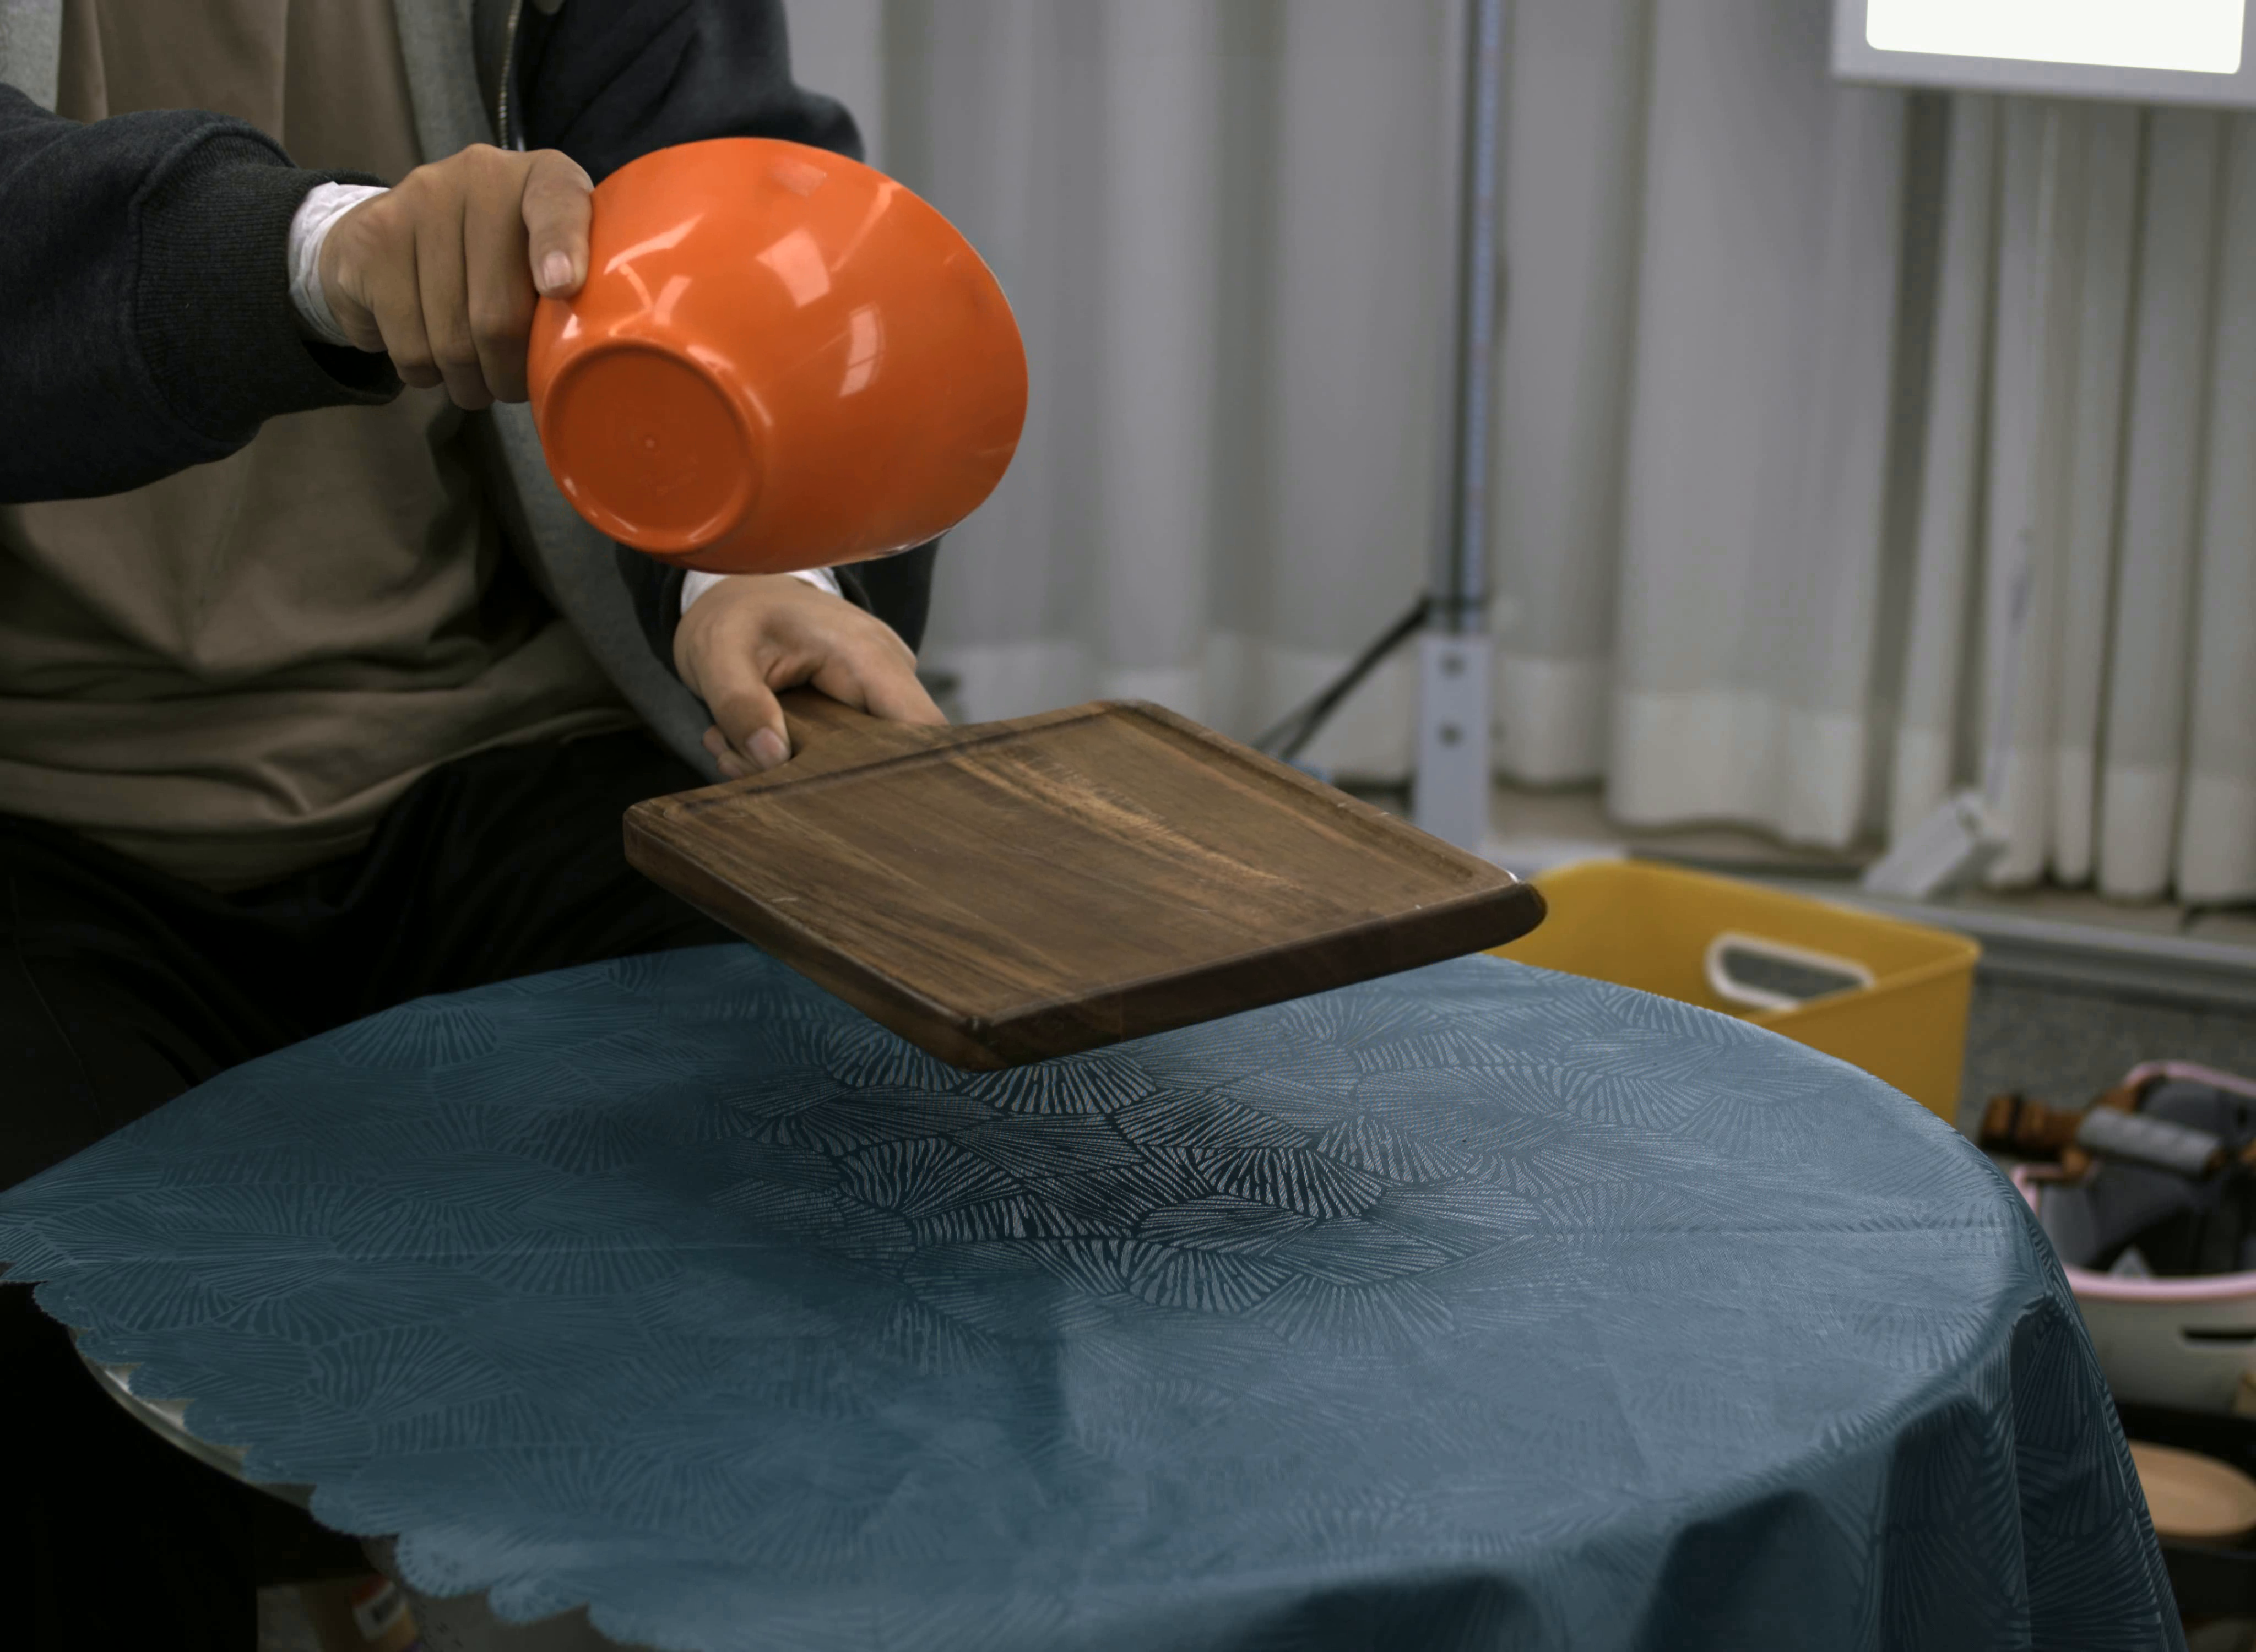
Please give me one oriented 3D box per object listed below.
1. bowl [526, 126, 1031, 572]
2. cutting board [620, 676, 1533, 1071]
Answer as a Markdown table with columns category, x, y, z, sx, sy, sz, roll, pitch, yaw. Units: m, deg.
| category | x | y | z | sx | sy | sz | roll | pitch | yaw |
| --- | --- | --- | --- | --- | --- | --- | --- | --- | --- |
| bowl | -0.113 | -0.123 | 1.524 | 0.146 | 0.150 | 0.104 | 6 | 30 | 18 |
| cutting board | -0.044 | 0.001 | 1.690 | 0.202 | 0.023 | 0.347 | -13 | 21 | -27 |
